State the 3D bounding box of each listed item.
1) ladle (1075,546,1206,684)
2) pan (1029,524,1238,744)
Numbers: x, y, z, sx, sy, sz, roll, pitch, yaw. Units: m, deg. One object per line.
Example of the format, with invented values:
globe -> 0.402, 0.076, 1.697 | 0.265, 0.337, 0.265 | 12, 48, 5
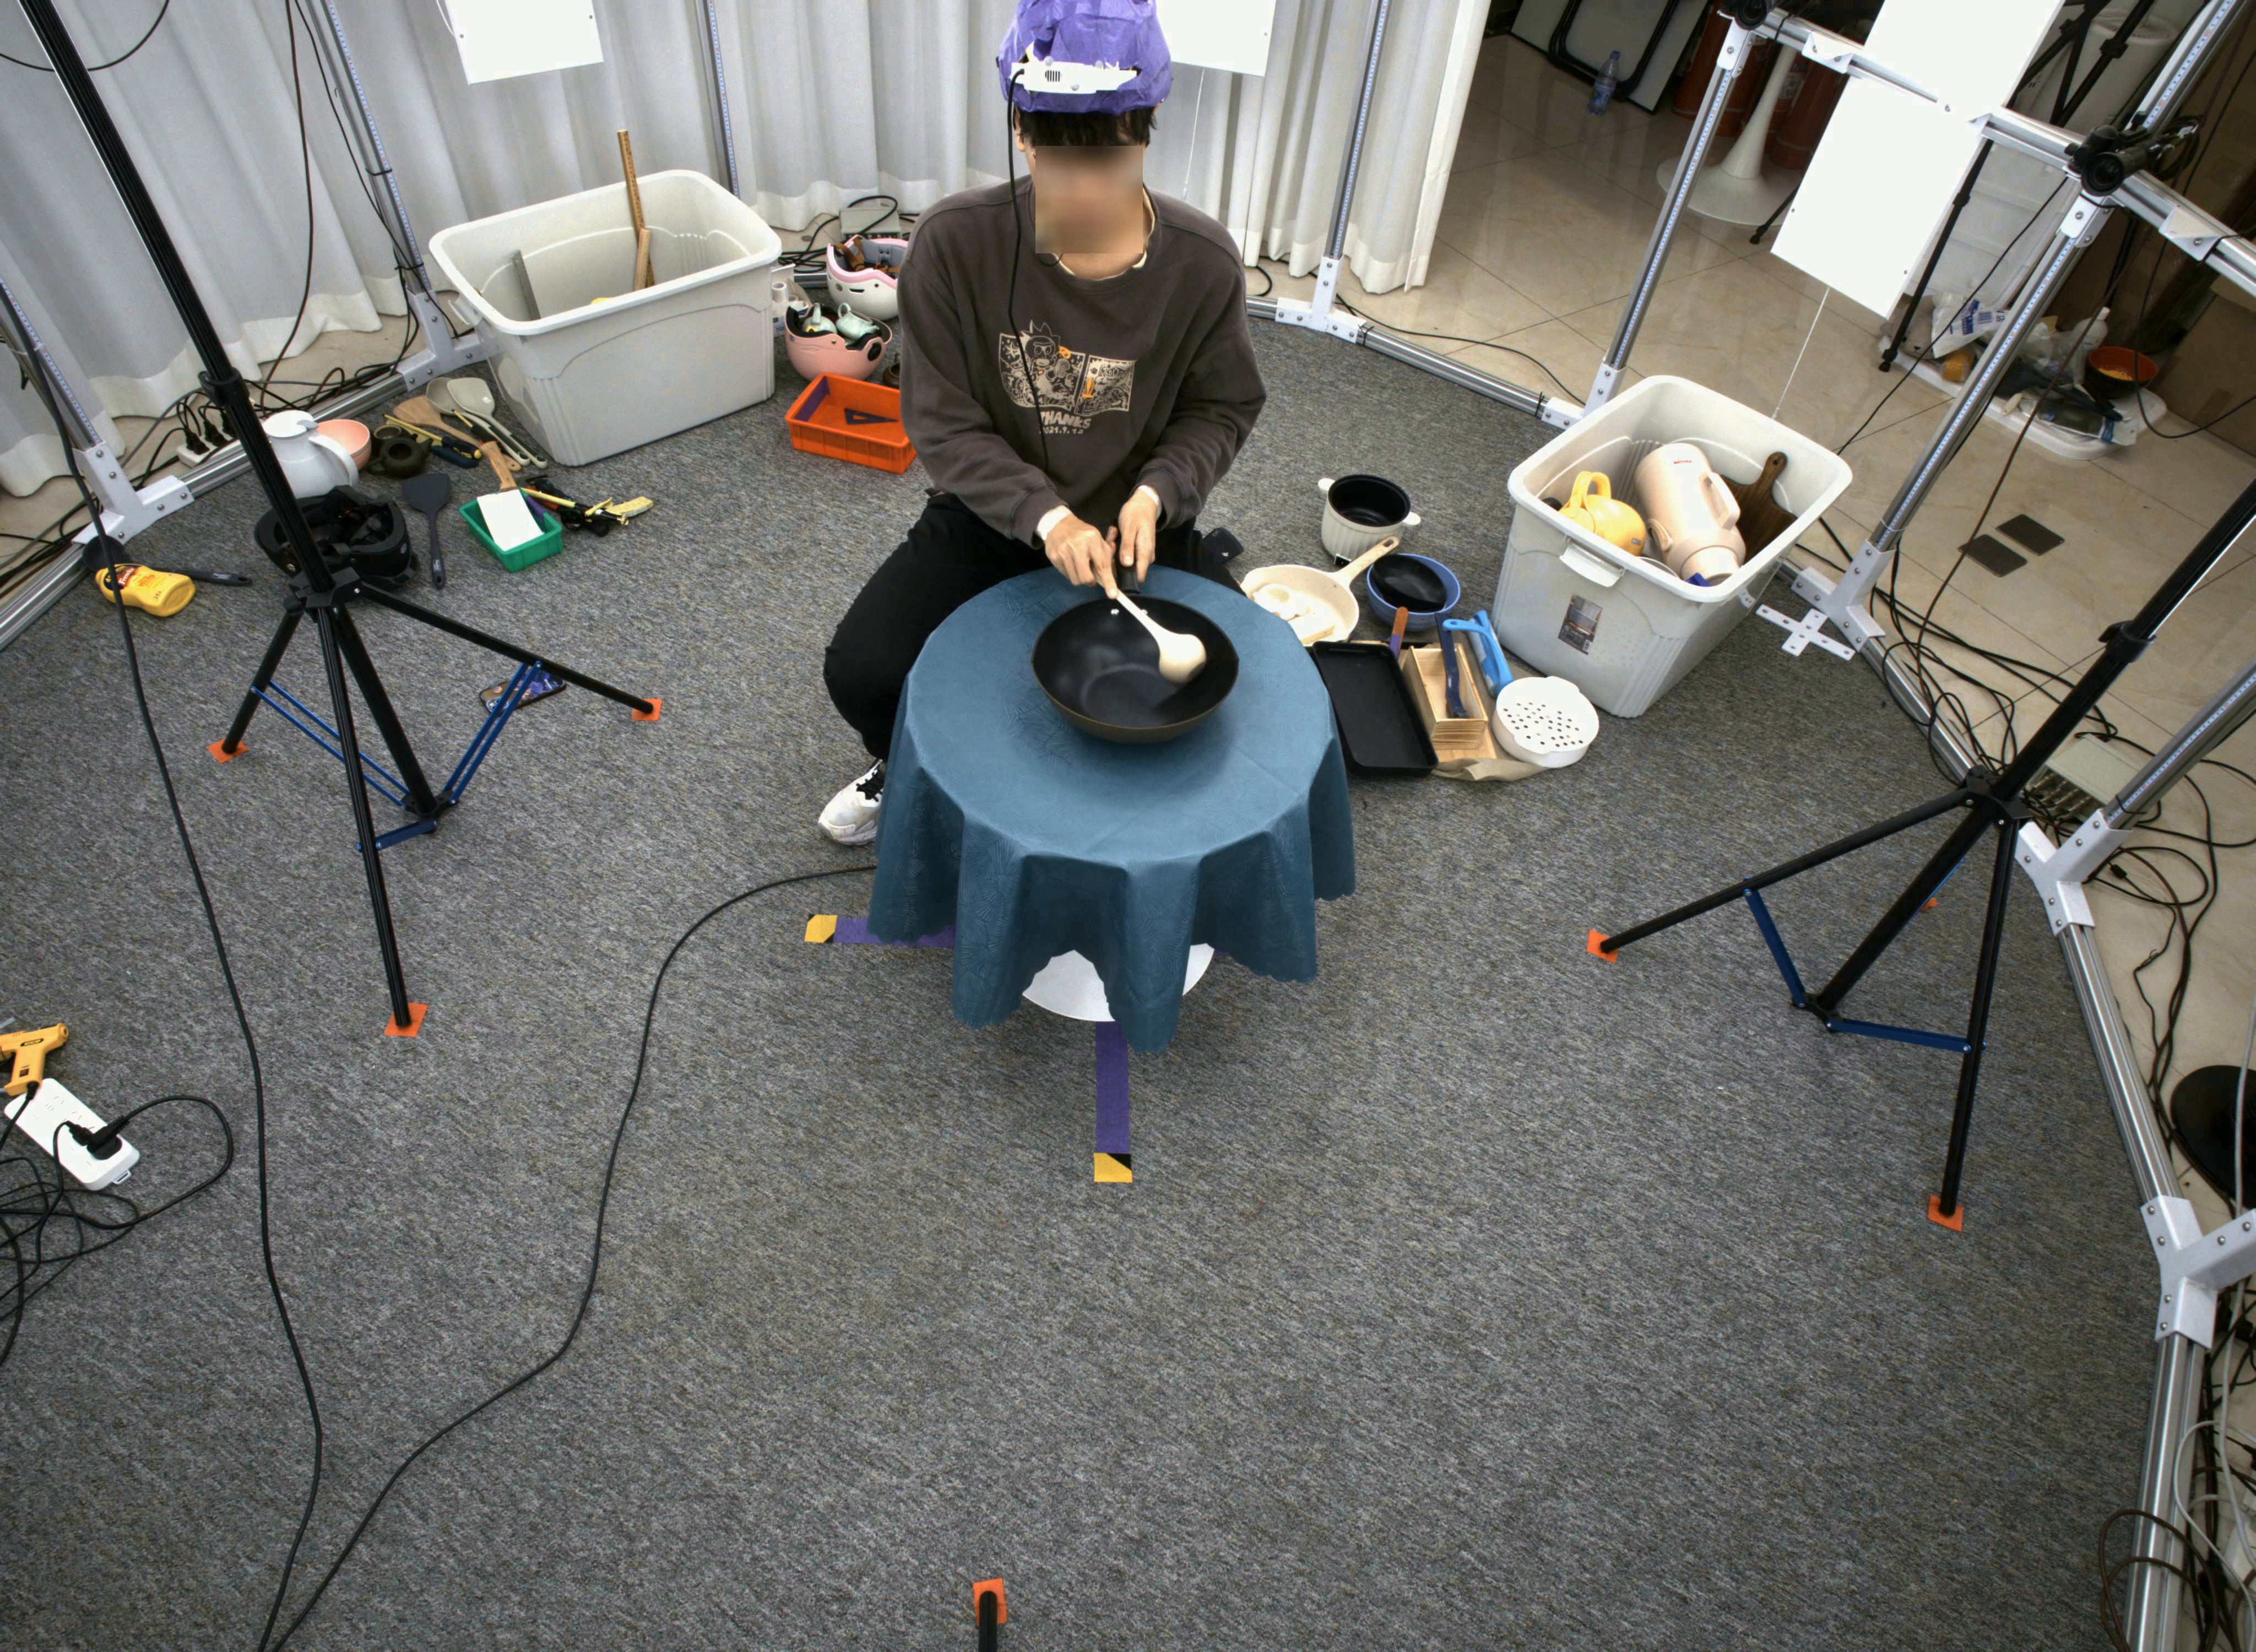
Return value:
ladle -> 0.014, -0.305, 1.848 | 0.072, 0.072, 0.258 | -42, 69, 1
pan -> 0.002, -0.272, 1.851 | 0.288, 0.085, 0.475 | 0, 46, -4
